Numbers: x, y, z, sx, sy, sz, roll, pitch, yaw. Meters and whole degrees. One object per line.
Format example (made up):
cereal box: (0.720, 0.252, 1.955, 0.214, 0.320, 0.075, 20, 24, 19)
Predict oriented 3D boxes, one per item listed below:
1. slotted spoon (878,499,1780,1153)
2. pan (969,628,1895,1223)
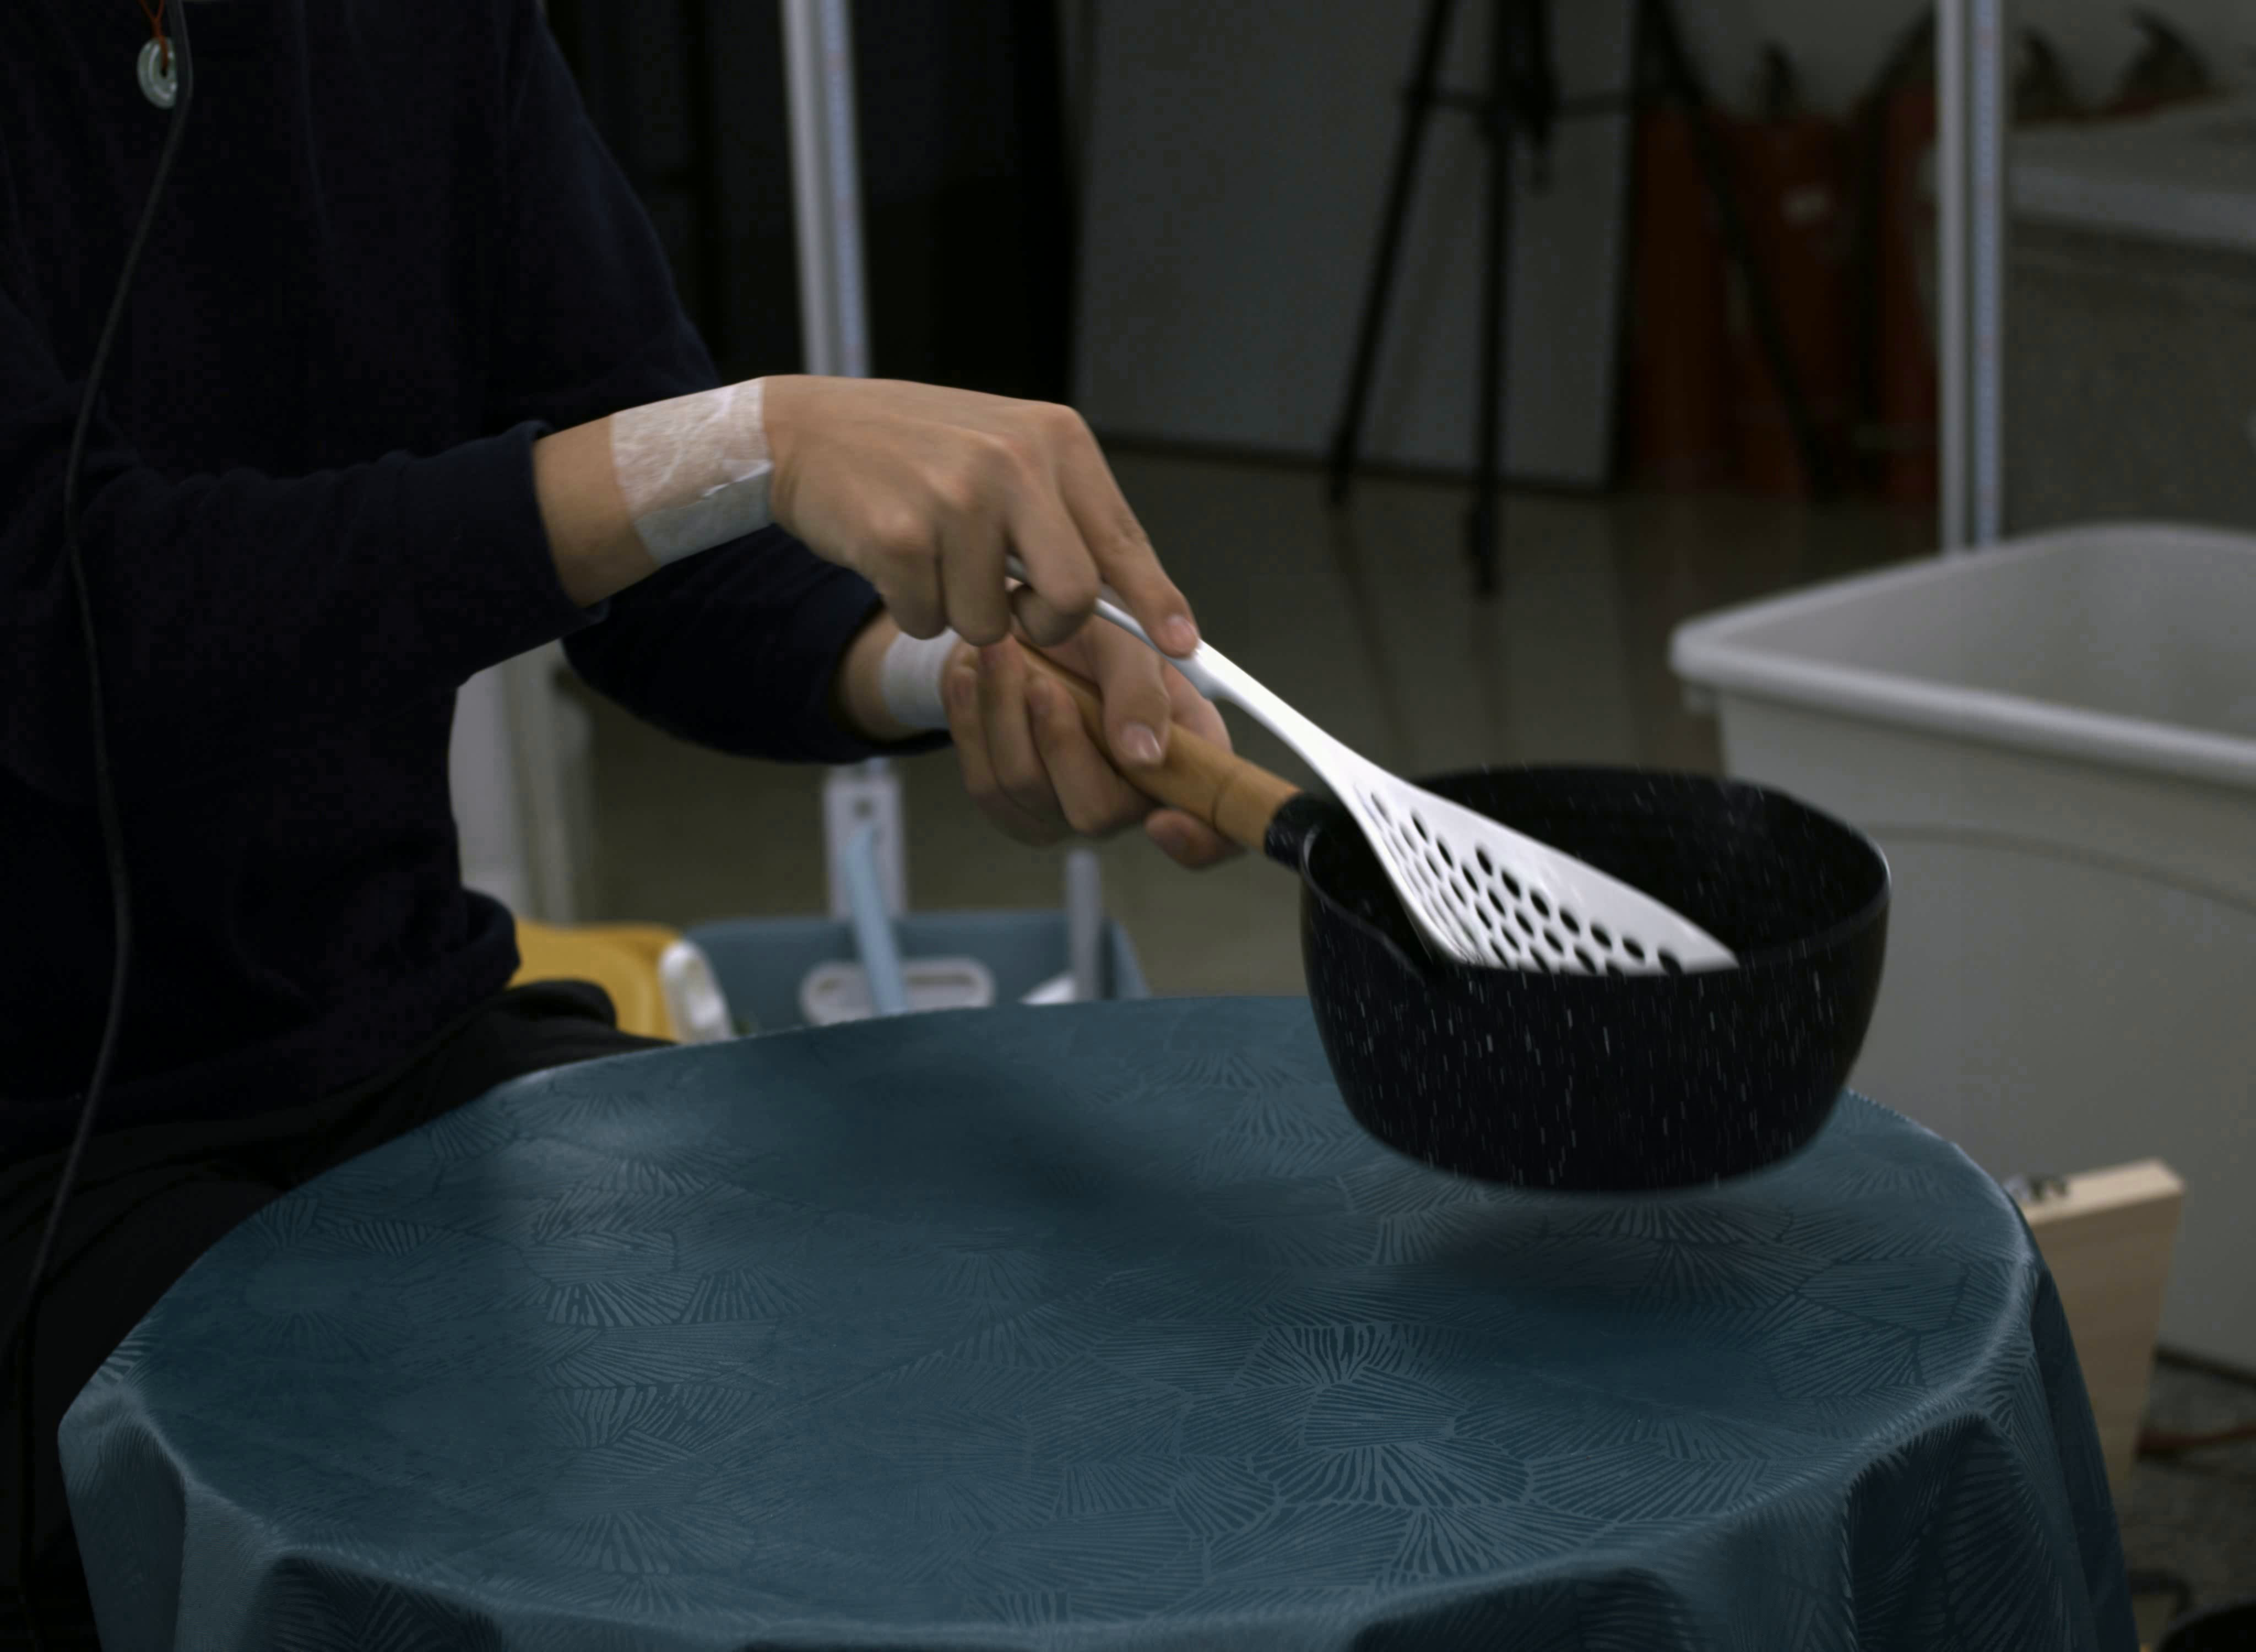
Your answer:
slotted spoon: (0.066, -0.006, 1.684, 0.348, 0.051, 0.135, 42, 27, 7)
pan: (0.082, 0.025, 1.713, 0.345, 0.109, 0.204, 16, 26, 35)
